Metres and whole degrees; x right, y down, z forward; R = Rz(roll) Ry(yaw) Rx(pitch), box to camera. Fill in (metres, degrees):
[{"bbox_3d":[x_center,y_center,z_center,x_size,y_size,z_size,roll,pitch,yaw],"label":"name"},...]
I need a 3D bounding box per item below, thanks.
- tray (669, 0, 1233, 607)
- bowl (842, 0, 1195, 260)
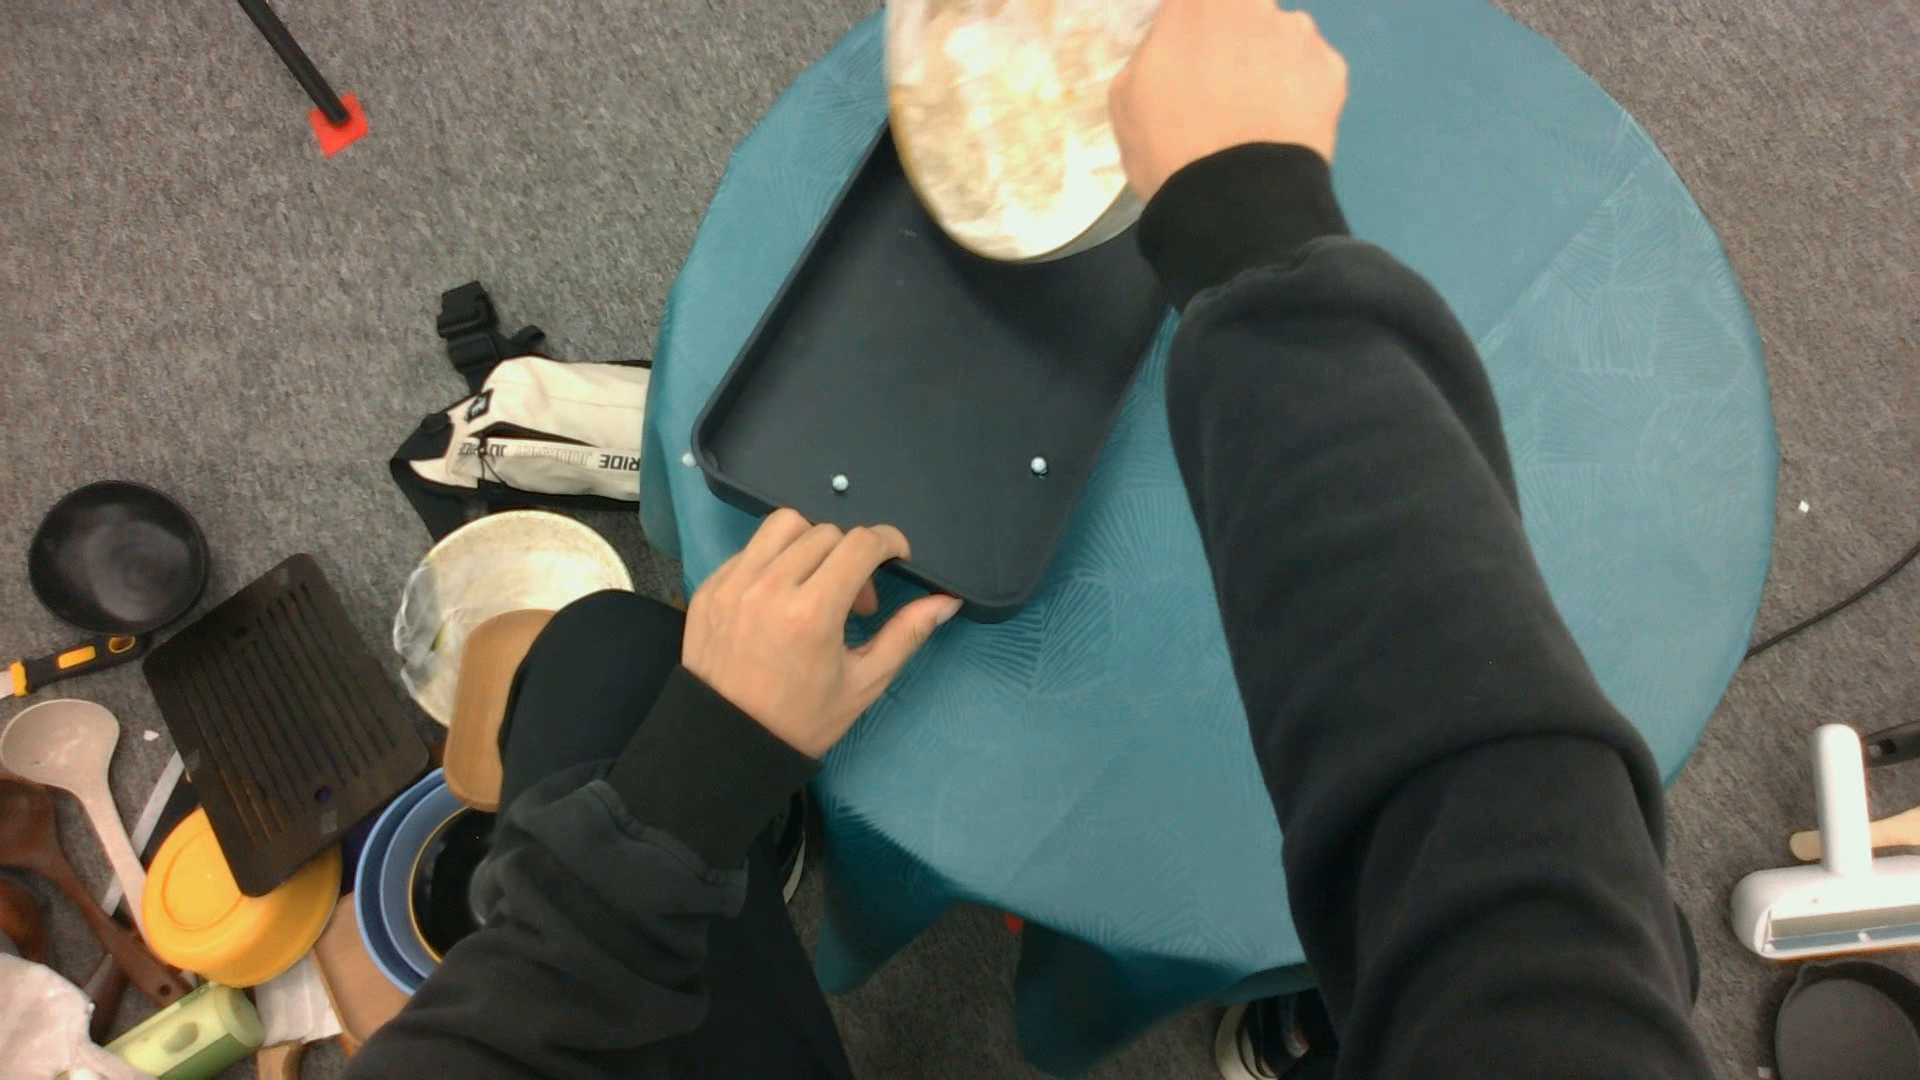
[{"bbox_3d":[0.003,-0.133,0.715,0.184,0.037,0.319,27,68,4],"label":"tray"},{"bbox_3d":[0.041,-0.237,0.674,0.095,0.213,0.215,-9,69,-43],"label":"bowl"}]
